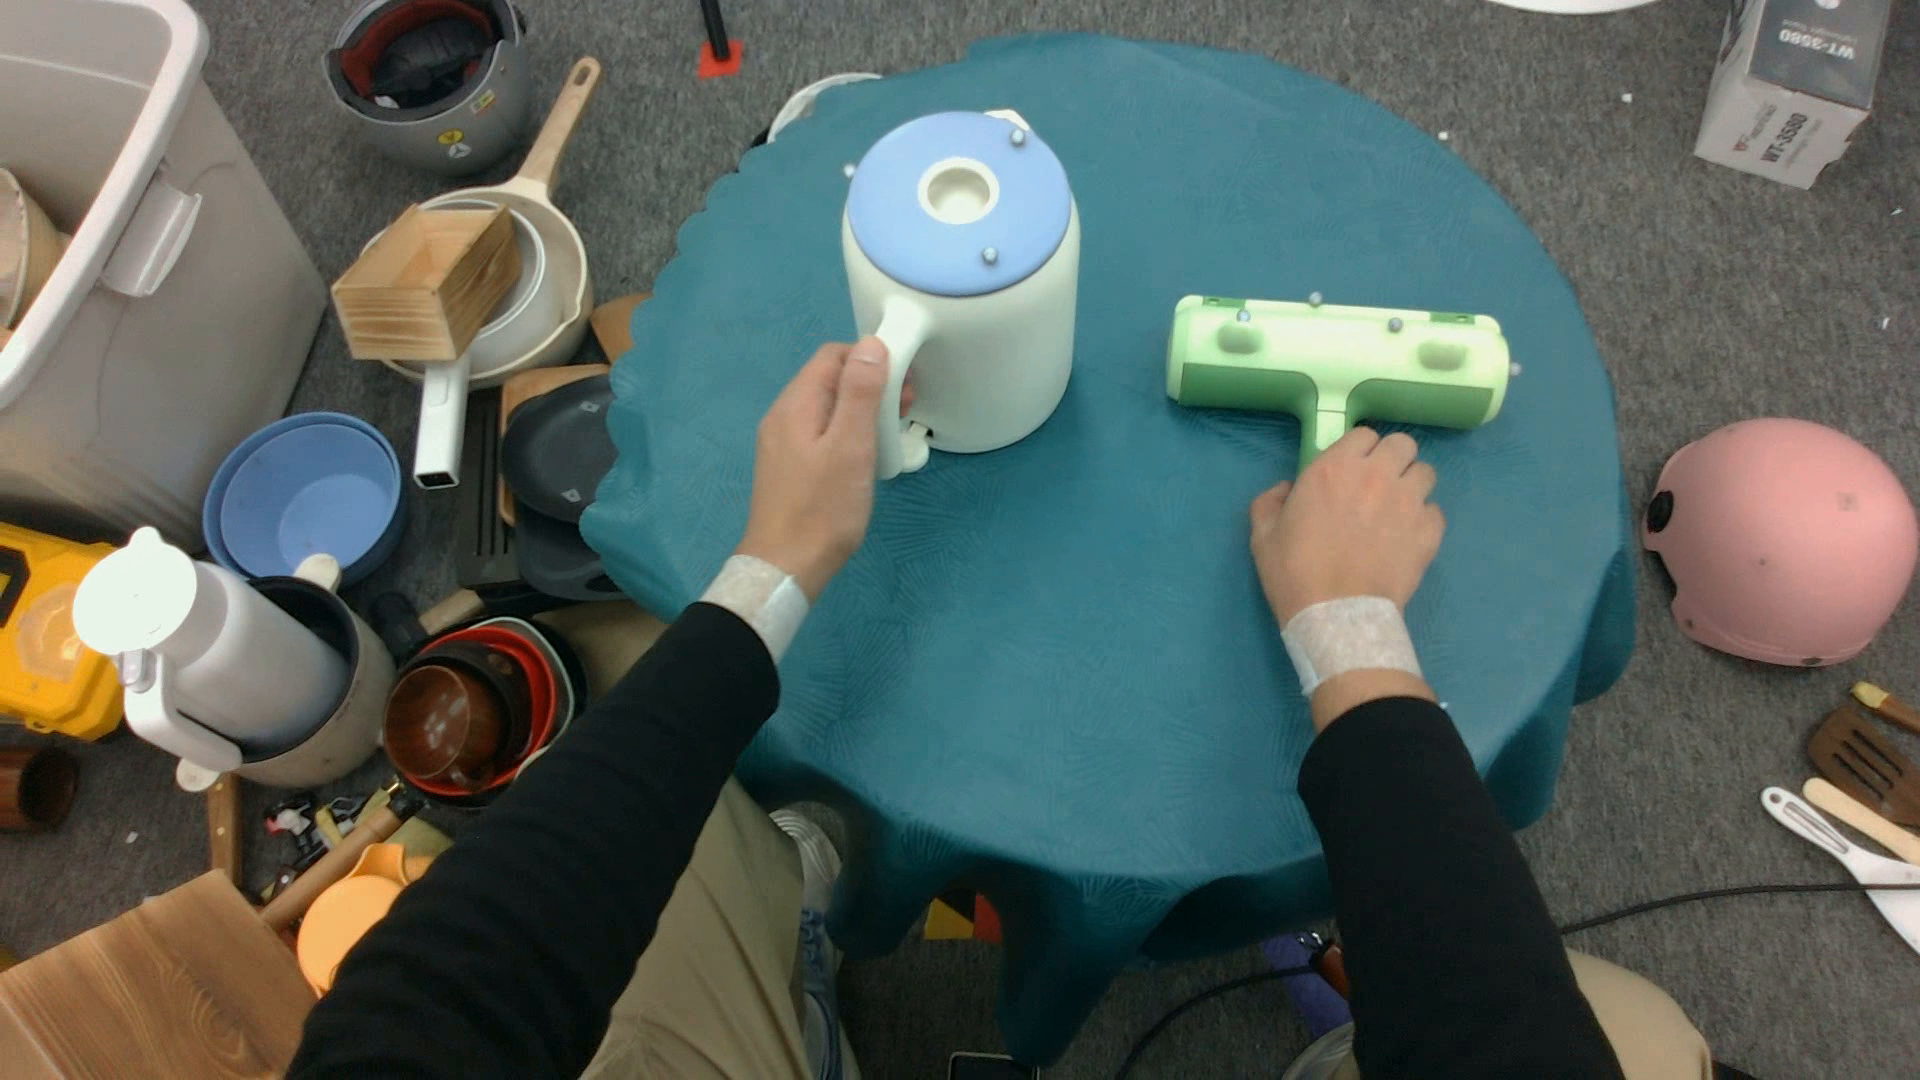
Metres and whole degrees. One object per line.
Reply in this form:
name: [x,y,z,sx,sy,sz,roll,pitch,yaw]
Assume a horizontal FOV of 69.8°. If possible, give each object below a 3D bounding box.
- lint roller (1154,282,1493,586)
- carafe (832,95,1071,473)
lint roller: [0.211,-0.069,0.808,0.198,0.082,0.184,6,63,6]
carafe: [-0.013,-0.131,0.789,0.132,0.182,0.192,21,70,11]
